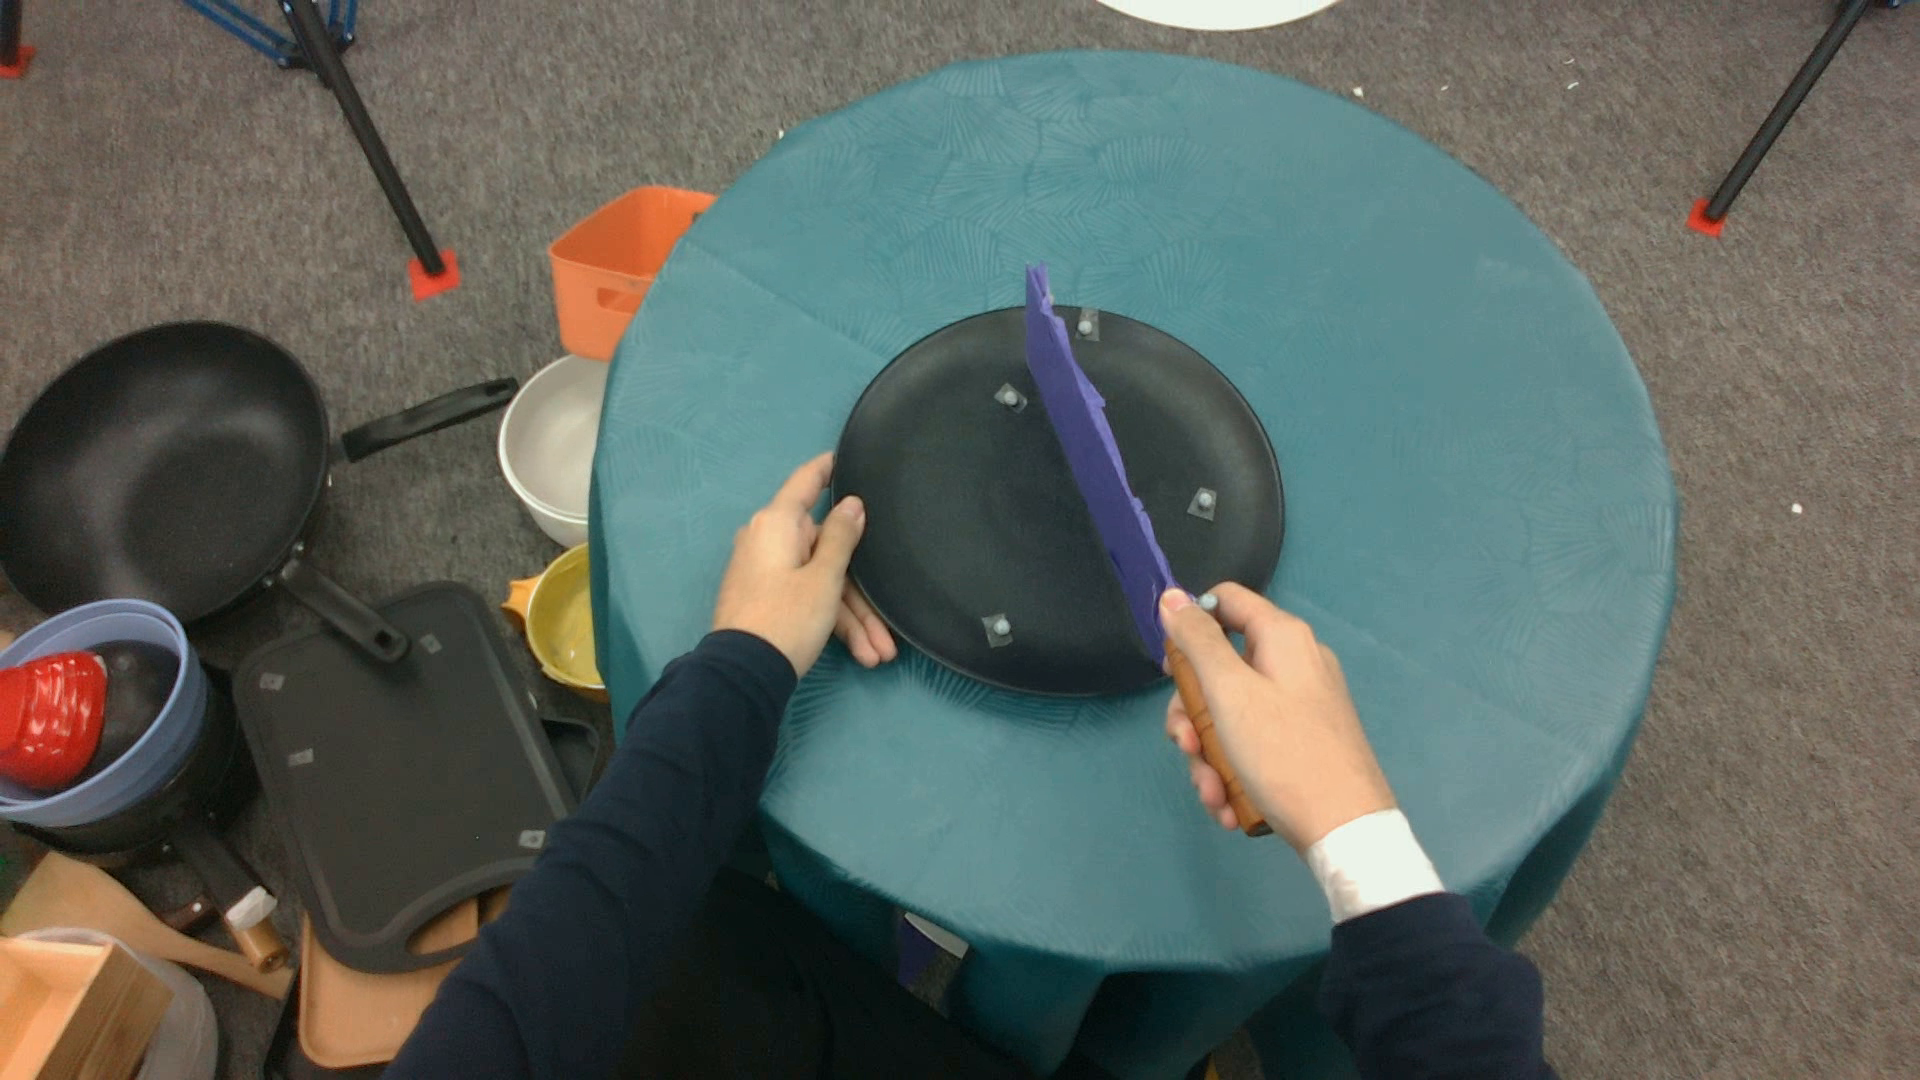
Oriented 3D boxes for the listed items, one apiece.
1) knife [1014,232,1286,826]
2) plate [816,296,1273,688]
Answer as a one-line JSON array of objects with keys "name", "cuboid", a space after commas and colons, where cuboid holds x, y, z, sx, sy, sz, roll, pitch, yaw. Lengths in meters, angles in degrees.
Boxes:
[{"name": "knife", "cuboid": [0.081, -0.004, 0.669, 0.032, 0.103, 0.316, -16, 62, -4]}, {"name": "plate", "cuboid": [0.045, -0.029, 0.740, 0.244, 0.023, 0.245, 1, 61, -2]}]
